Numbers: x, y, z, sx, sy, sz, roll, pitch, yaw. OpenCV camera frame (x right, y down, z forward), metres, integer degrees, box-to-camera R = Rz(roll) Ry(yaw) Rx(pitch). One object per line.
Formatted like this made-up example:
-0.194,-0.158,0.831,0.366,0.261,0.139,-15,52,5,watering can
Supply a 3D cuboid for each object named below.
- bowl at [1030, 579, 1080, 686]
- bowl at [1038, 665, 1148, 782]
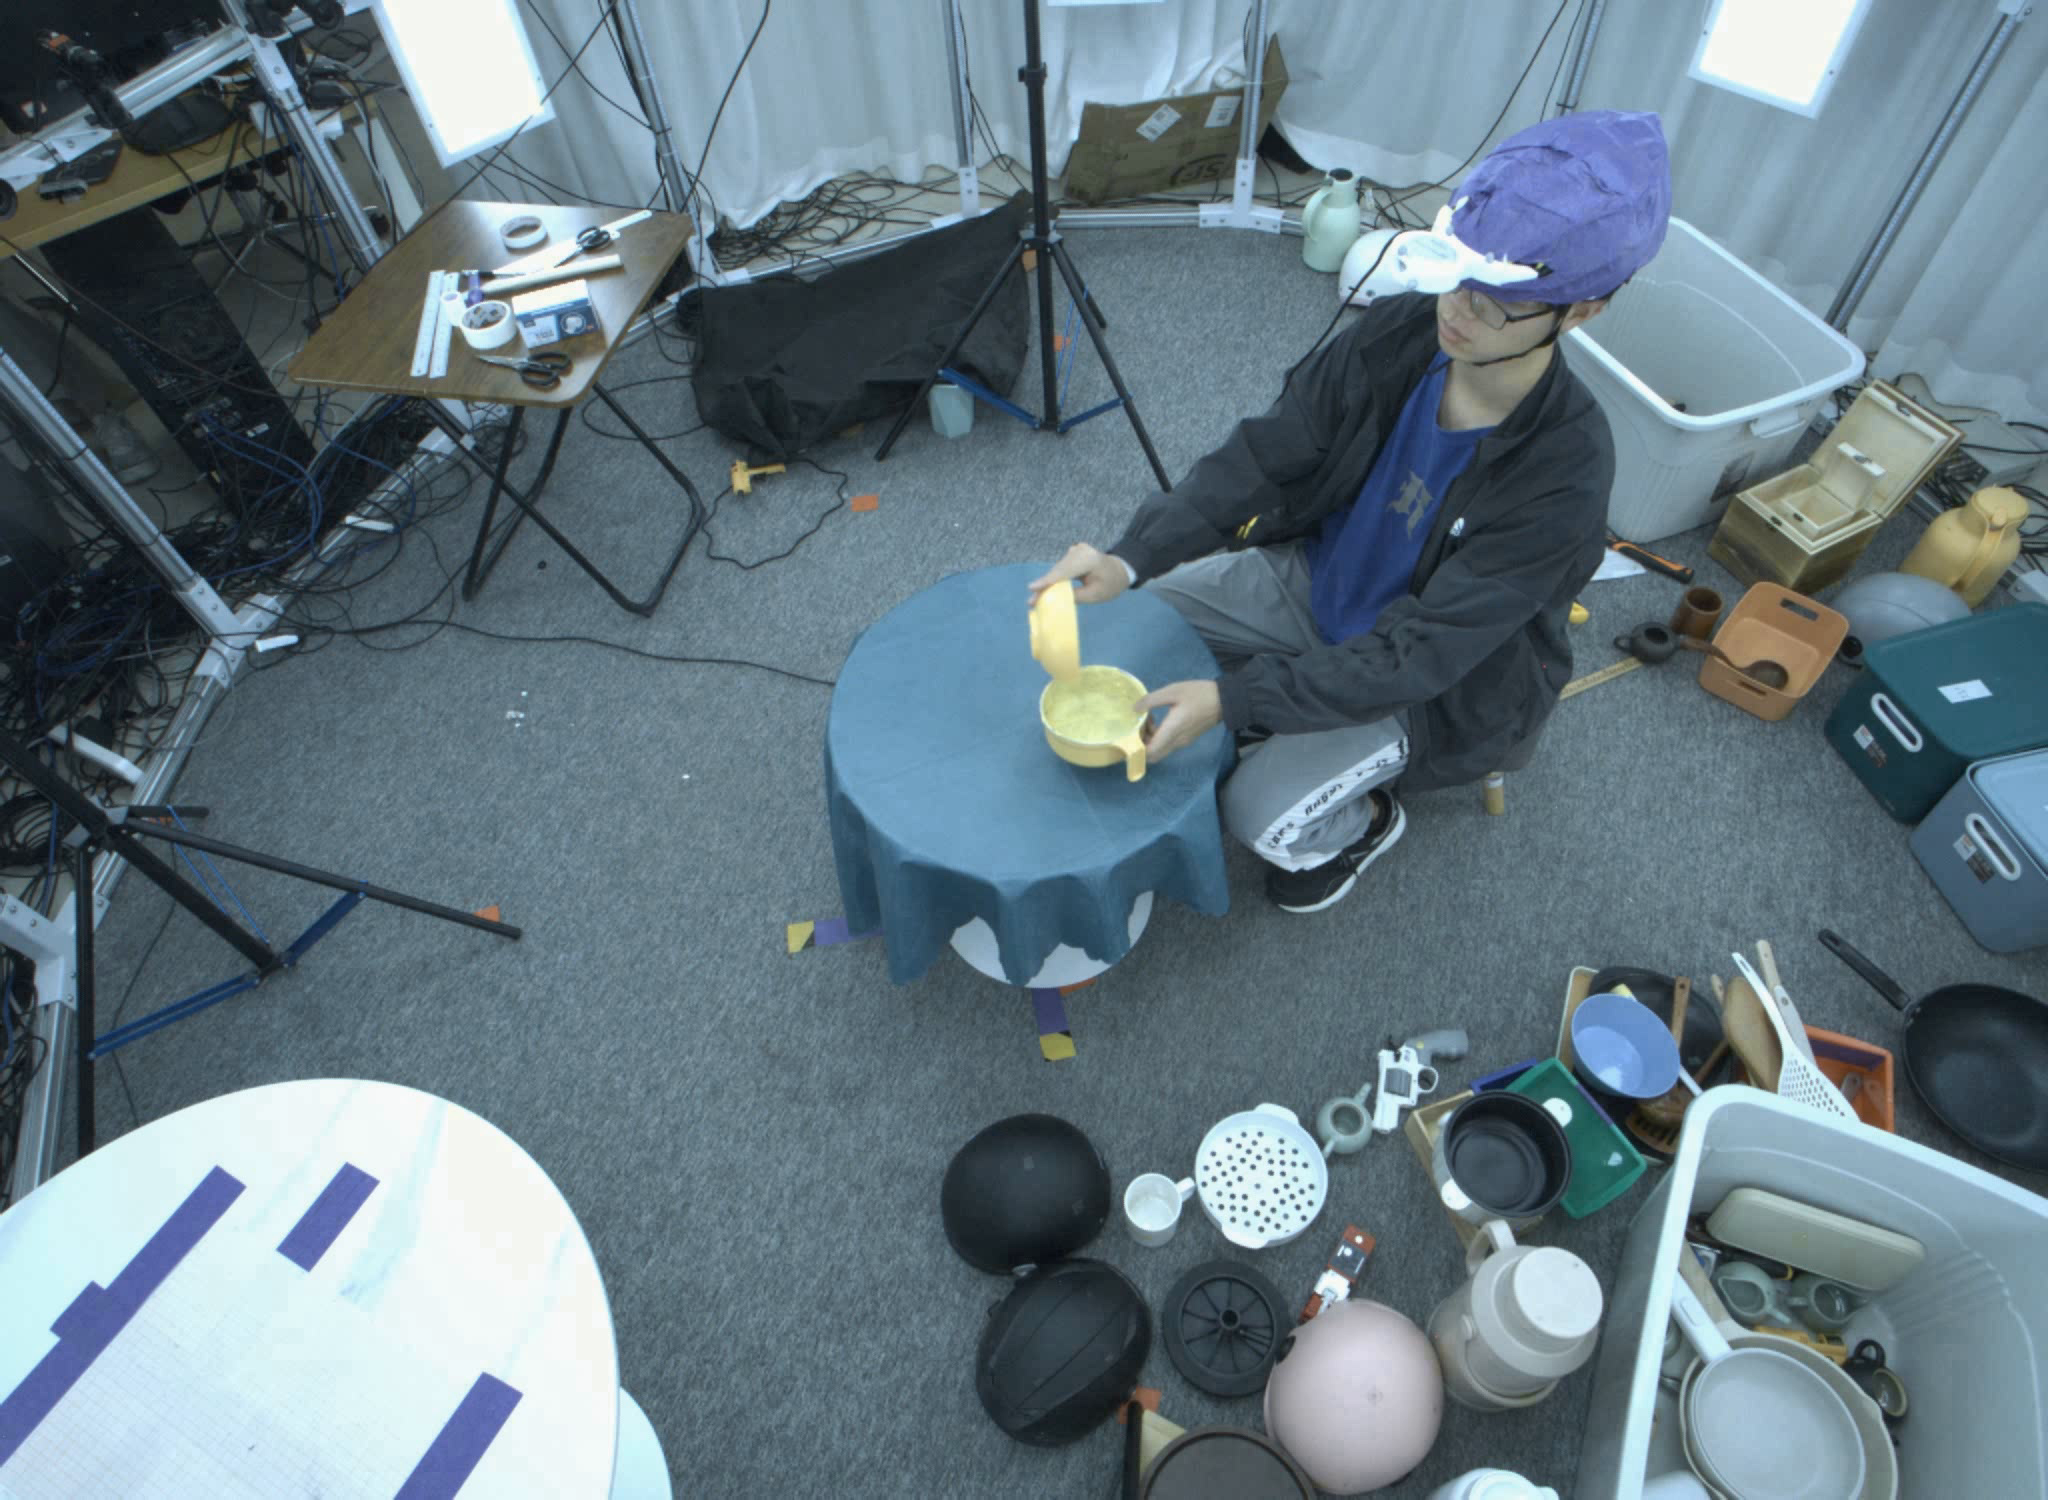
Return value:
0.039,-0.156,1.657,0.060,0.146,0.143,-4,54,-3,bowl
0.104,-0.033,1.712,0.154,0.075,0.175,-30,52,-22,bowl
